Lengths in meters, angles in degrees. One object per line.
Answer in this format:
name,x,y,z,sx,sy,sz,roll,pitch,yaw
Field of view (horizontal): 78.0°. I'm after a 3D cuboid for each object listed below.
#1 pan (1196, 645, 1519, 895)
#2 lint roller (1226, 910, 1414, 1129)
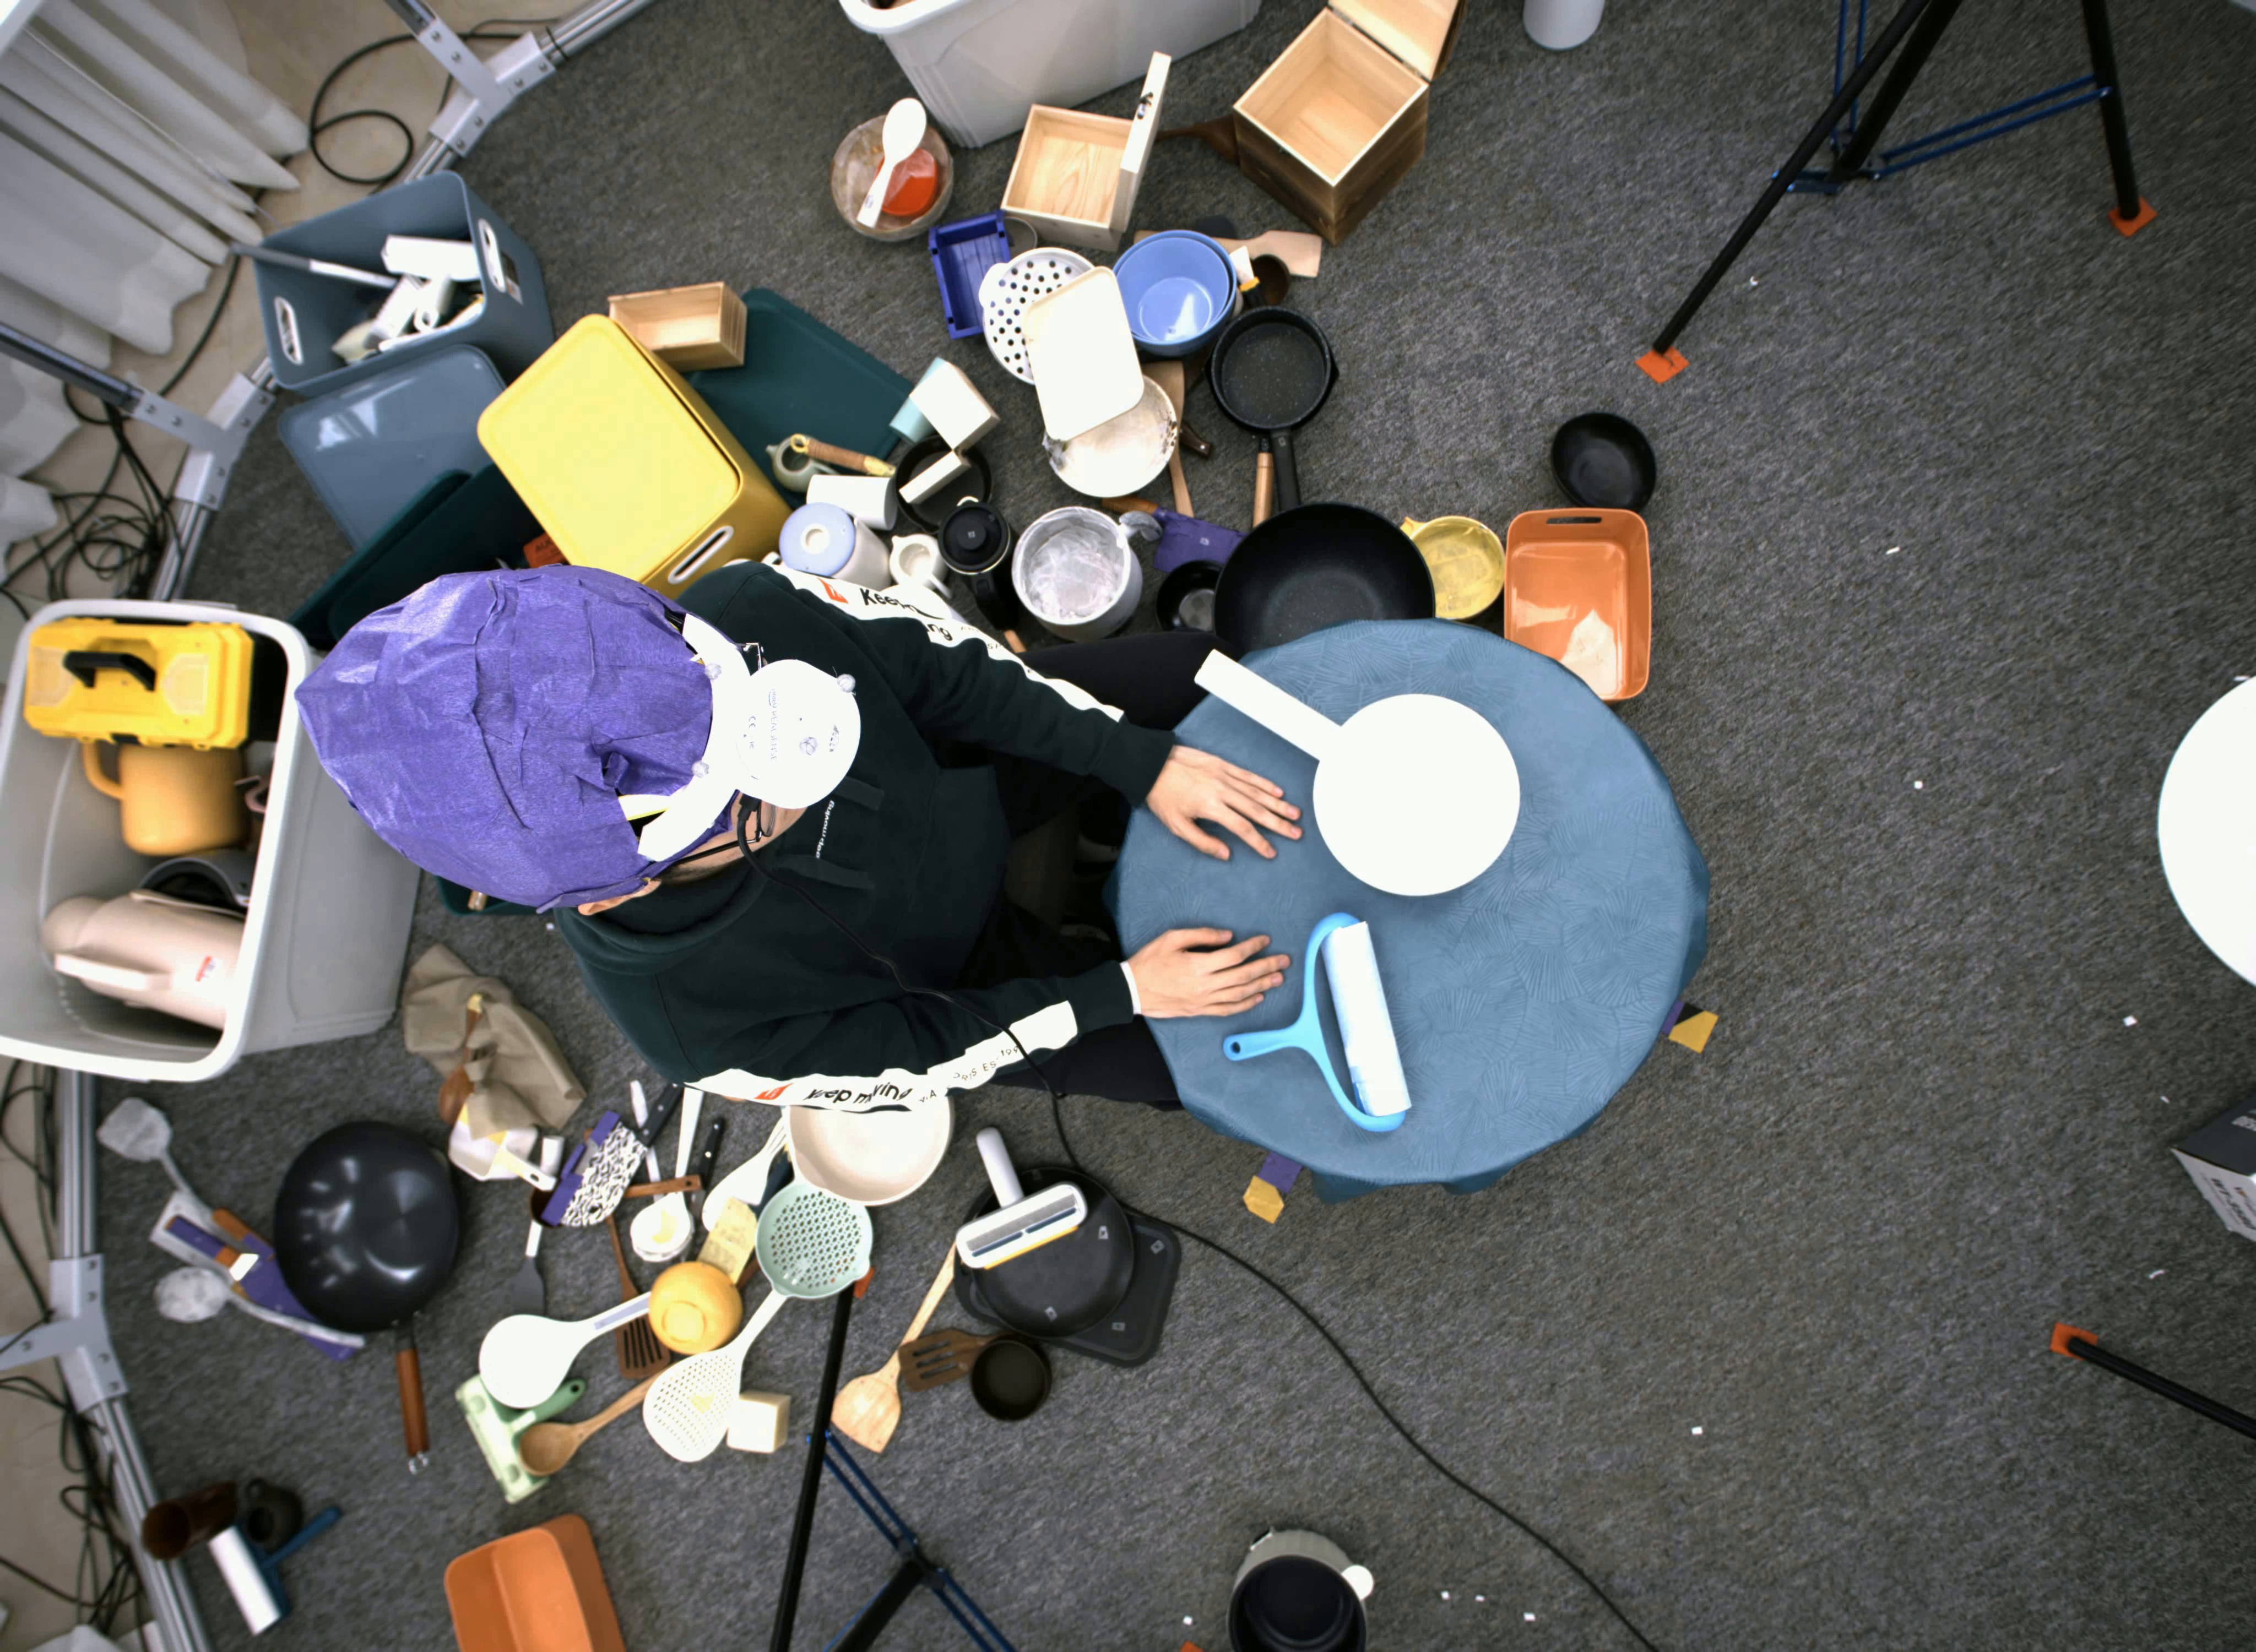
pan,0.229,-0.070,1.420,0.354,0.102,0.202,33,93,11
lint roller,0.188,0.214,1.434,0.181,0.068,0.228,-16,86,8
